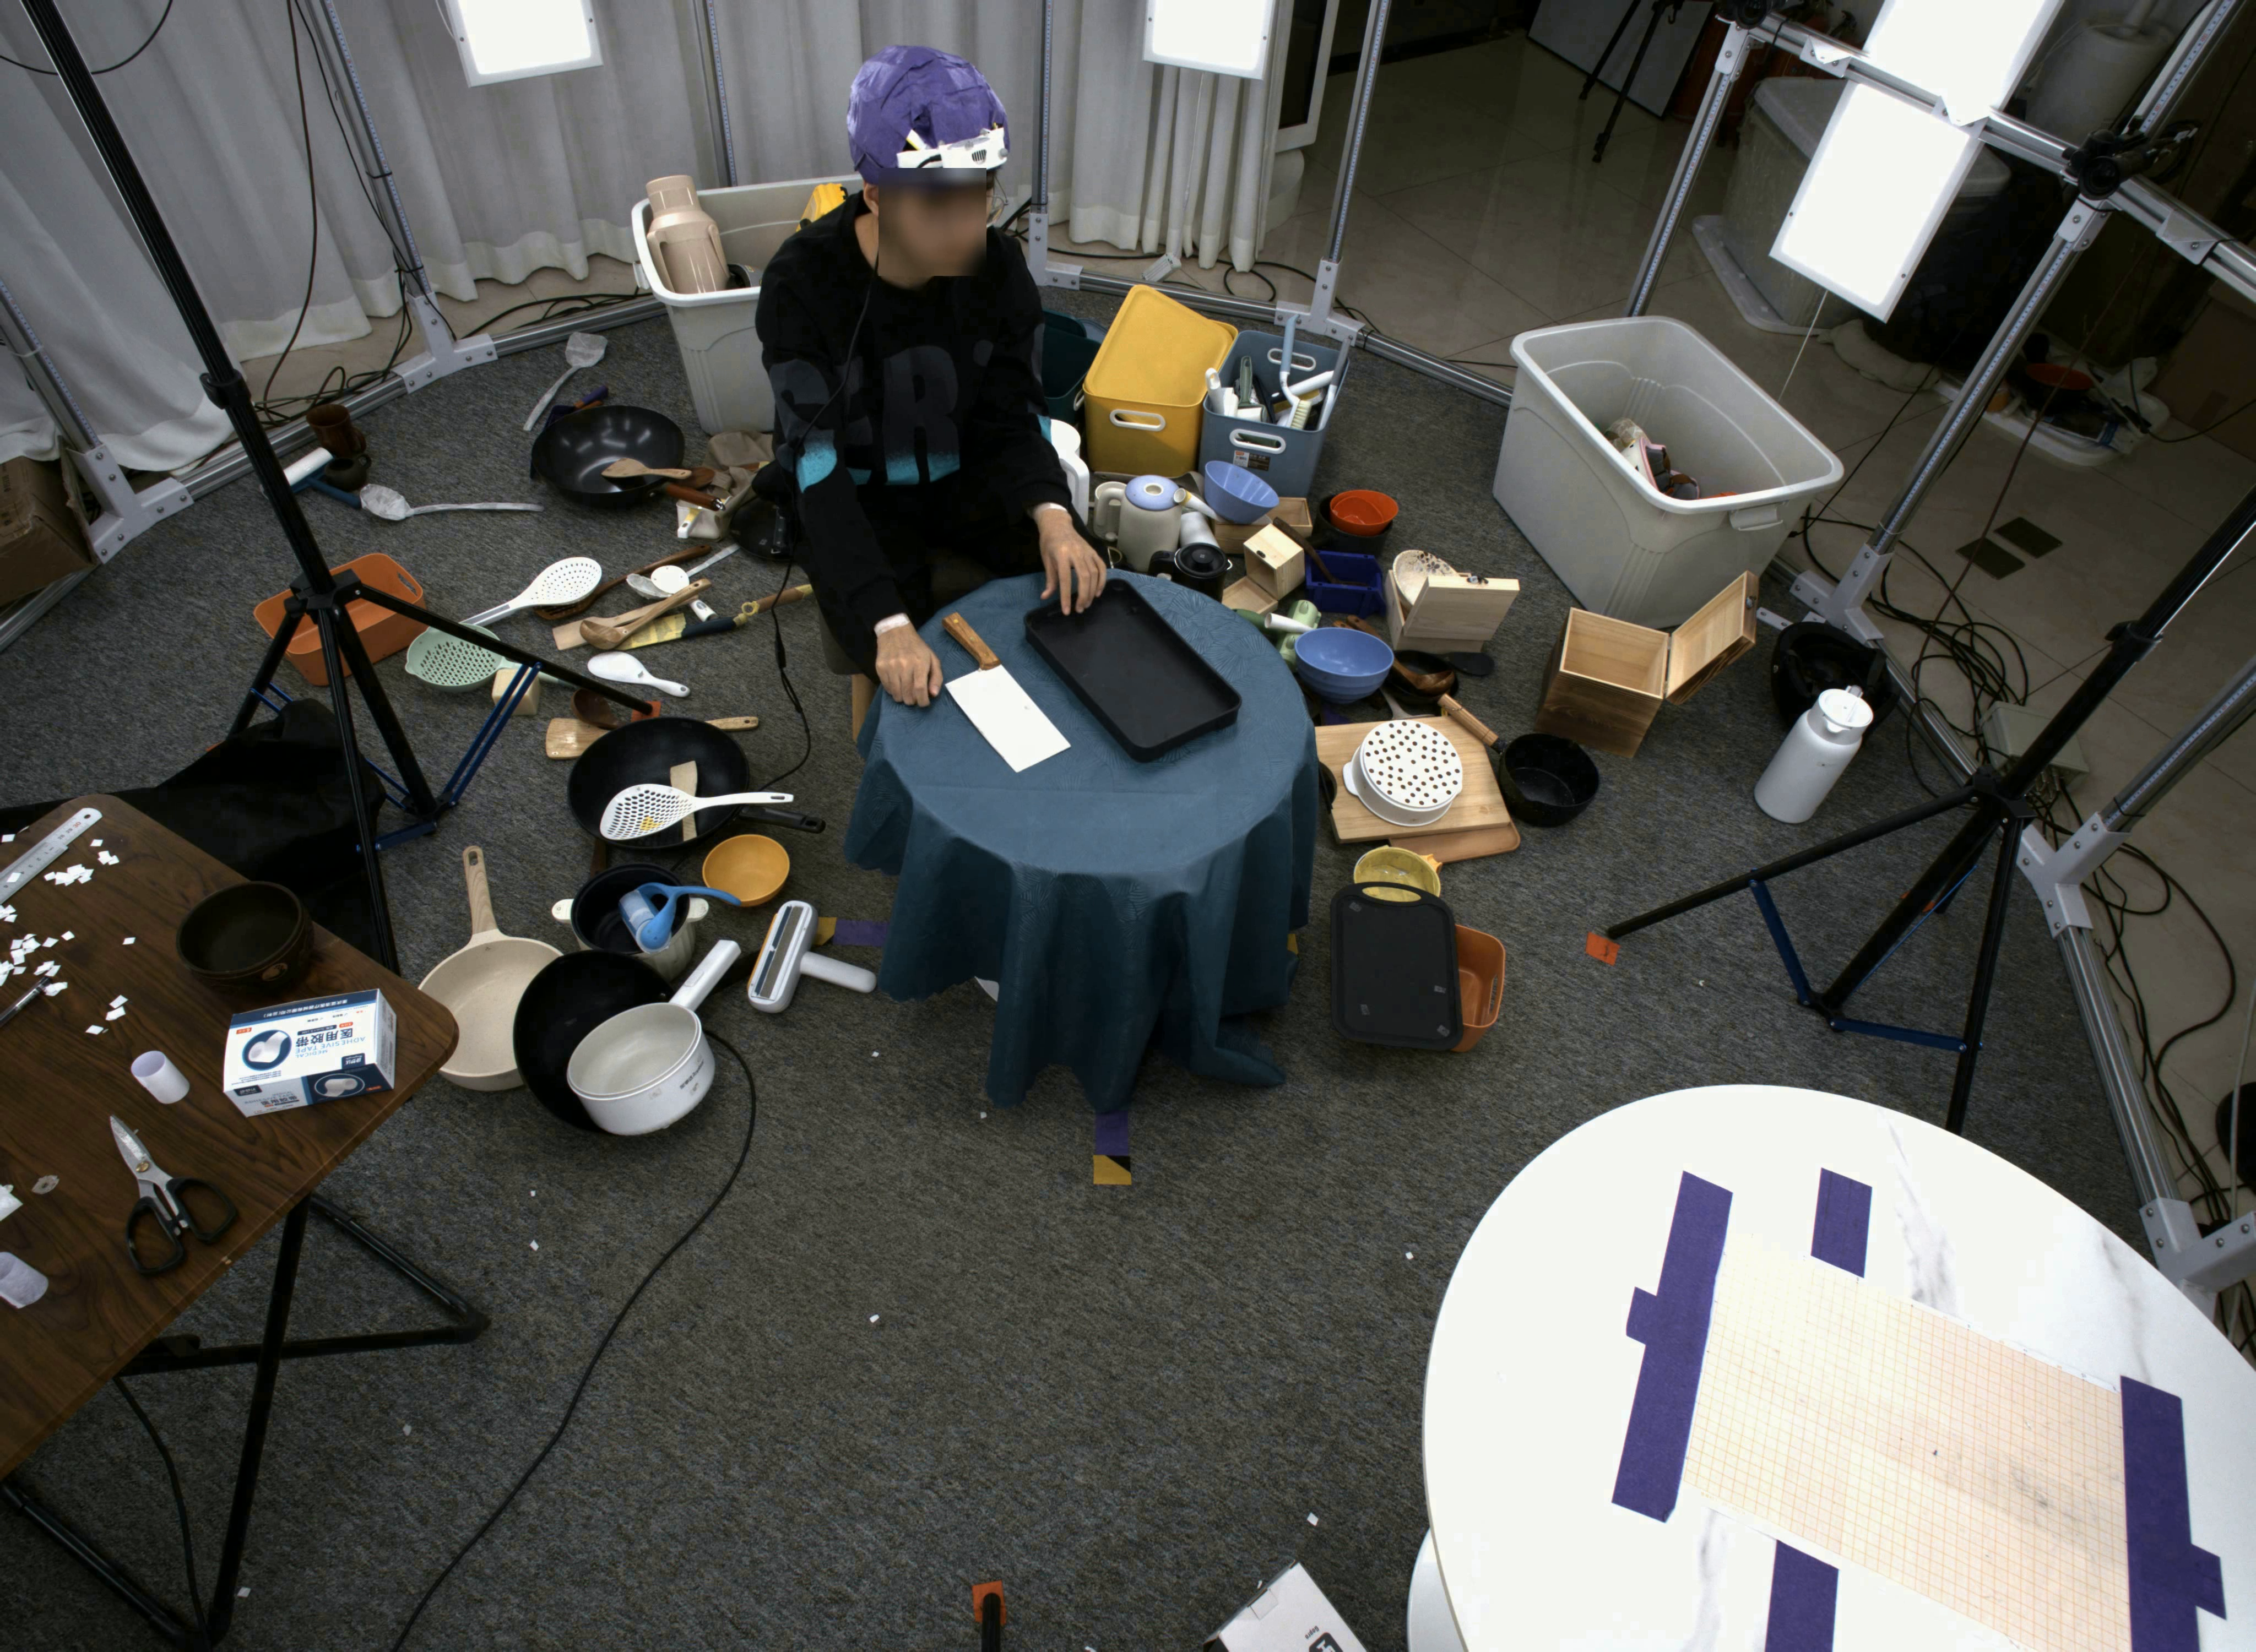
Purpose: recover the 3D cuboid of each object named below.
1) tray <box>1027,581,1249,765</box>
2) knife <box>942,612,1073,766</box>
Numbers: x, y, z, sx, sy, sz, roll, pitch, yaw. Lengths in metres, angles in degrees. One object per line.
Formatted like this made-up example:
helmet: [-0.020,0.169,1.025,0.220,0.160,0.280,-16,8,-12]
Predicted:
tray: [0.010,-0.225,1.841,0.185,0.036,0.324,-27,56,-24]
knife: [-0.195,-0.194,1.814,0.093,0.020,0.311,-27,58,-22]
